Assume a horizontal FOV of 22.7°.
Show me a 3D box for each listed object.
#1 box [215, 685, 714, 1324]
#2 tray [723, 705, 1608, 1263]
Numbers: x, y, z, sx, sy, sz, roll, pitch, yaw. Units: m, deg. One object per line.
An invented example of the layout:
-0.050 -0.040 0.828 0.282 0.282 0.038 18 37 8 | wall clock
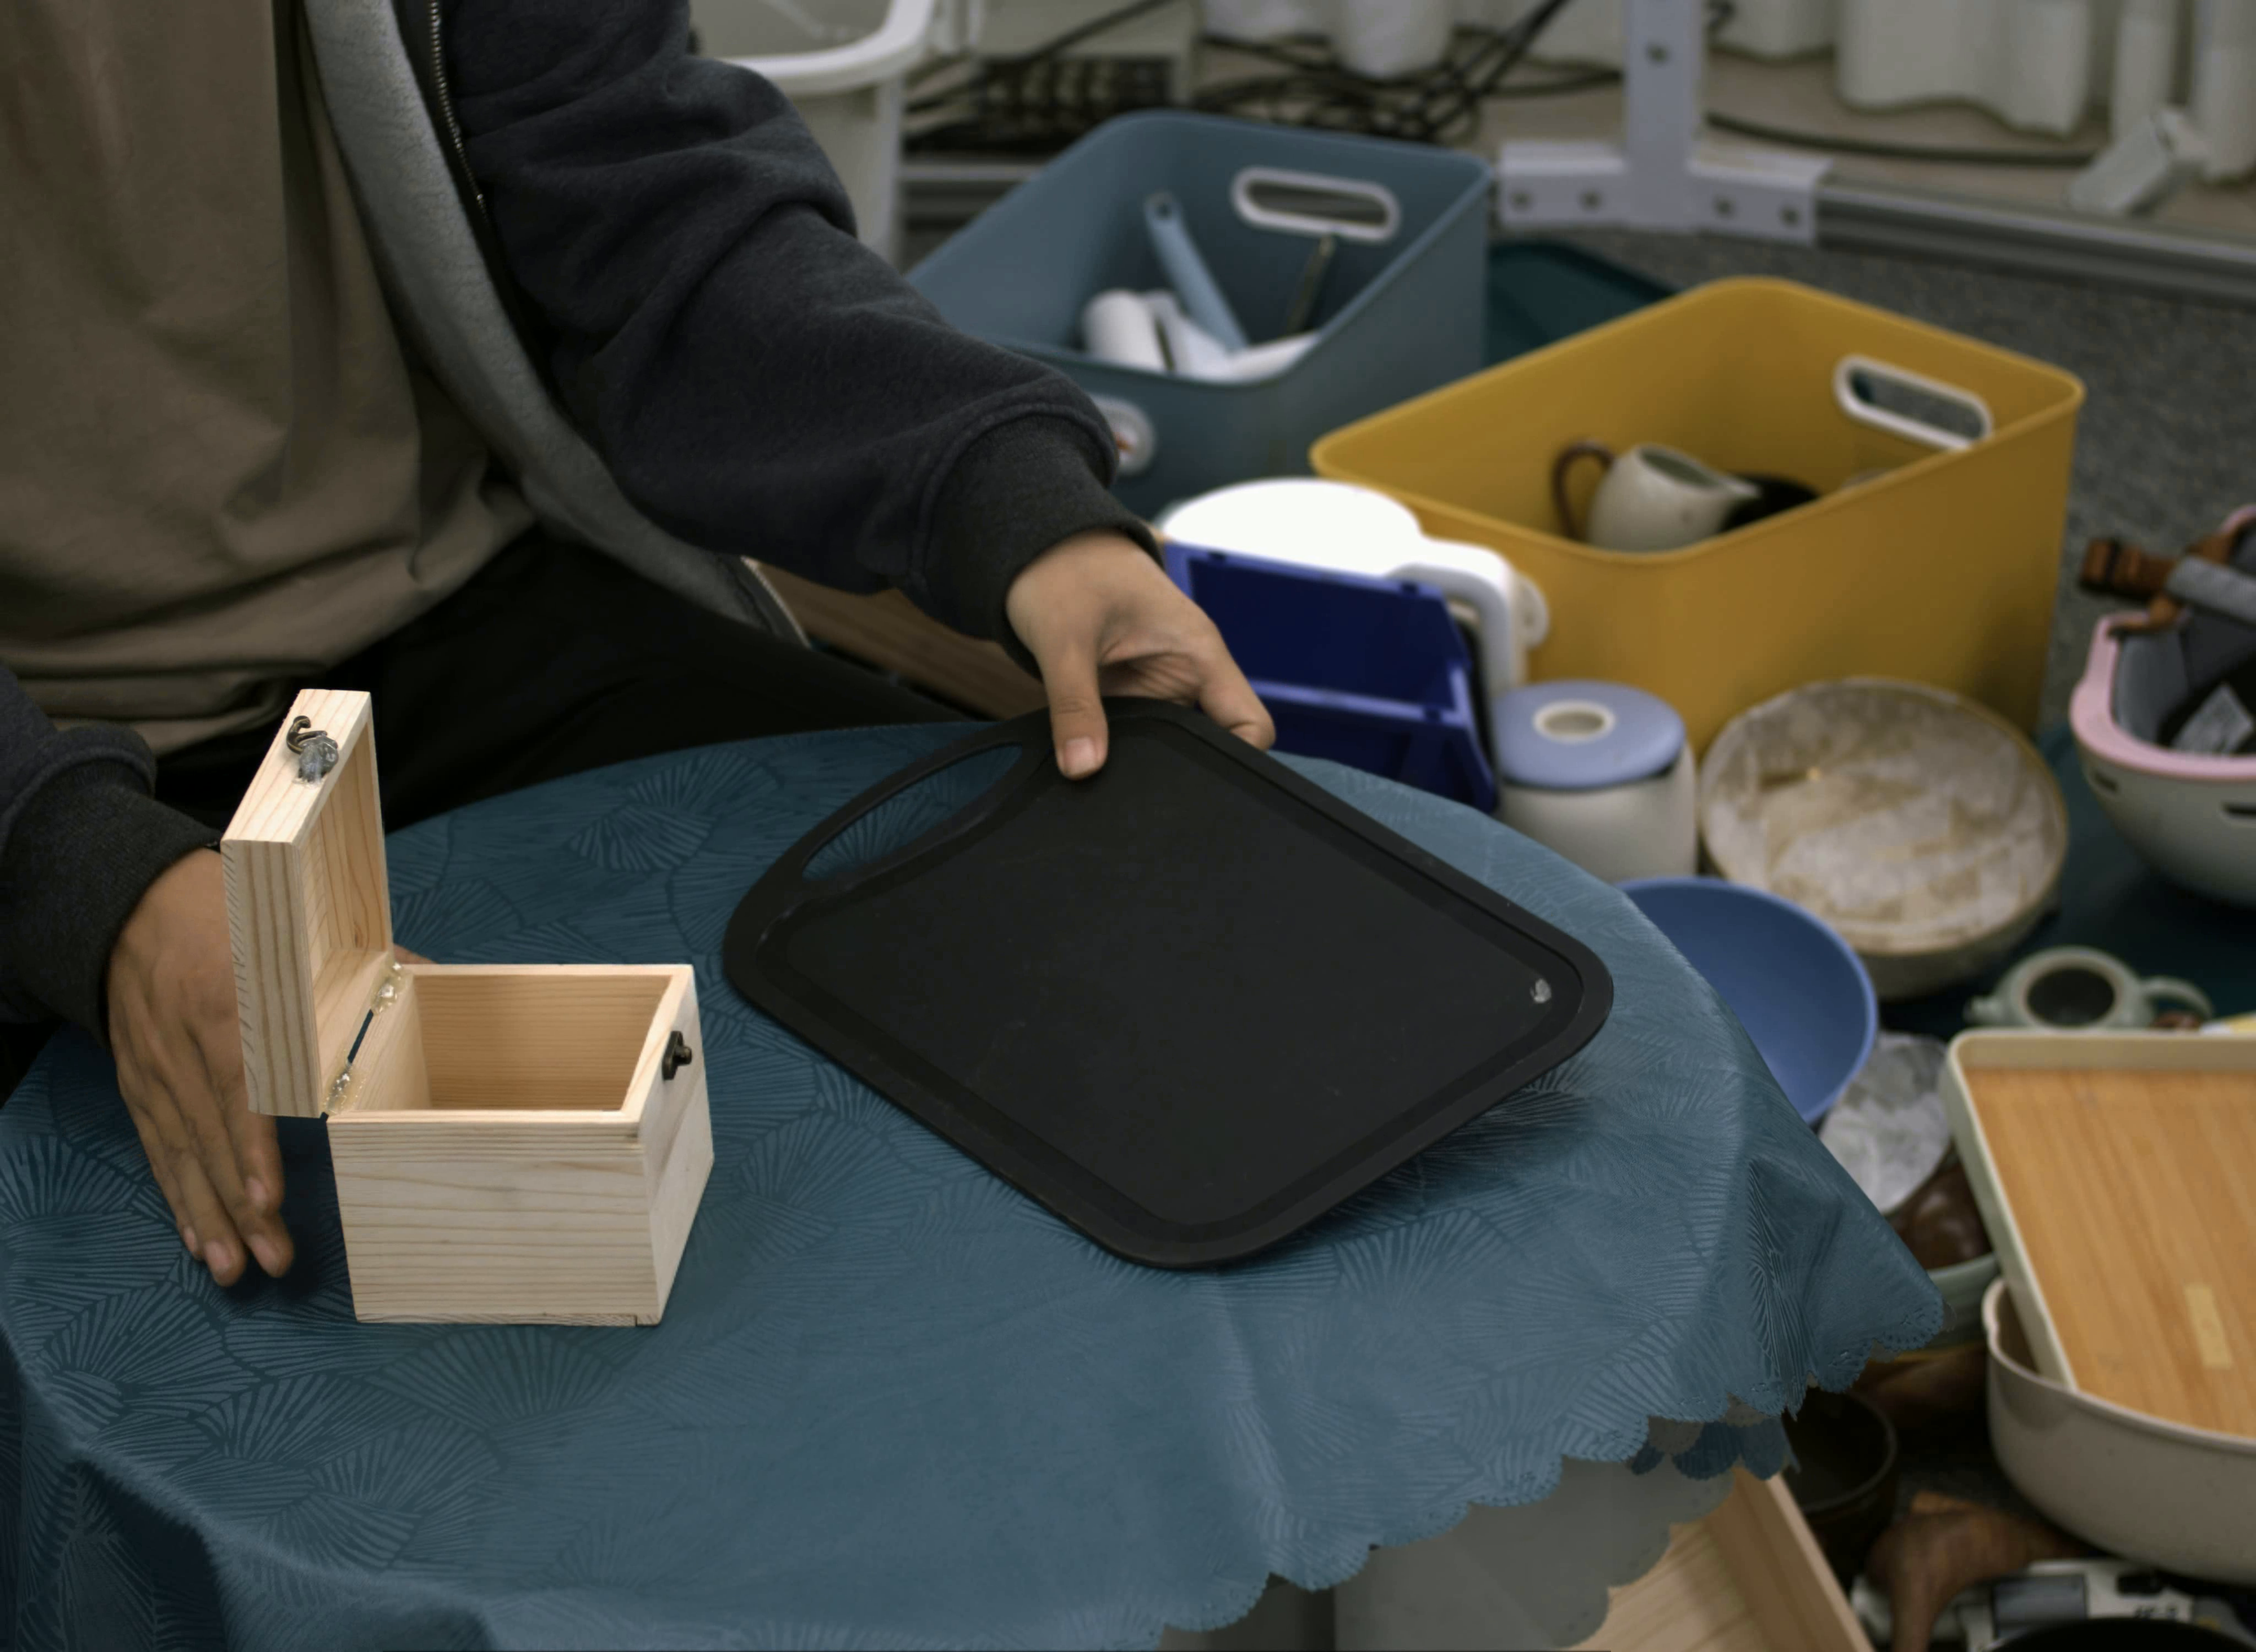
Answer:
-0.209 0.057 1.810 0.133 0.182 0.104 -1 27 7 | box
0.002 0.045 1.960 0.213 0.009 0.326 -30 37 -24 | tray
